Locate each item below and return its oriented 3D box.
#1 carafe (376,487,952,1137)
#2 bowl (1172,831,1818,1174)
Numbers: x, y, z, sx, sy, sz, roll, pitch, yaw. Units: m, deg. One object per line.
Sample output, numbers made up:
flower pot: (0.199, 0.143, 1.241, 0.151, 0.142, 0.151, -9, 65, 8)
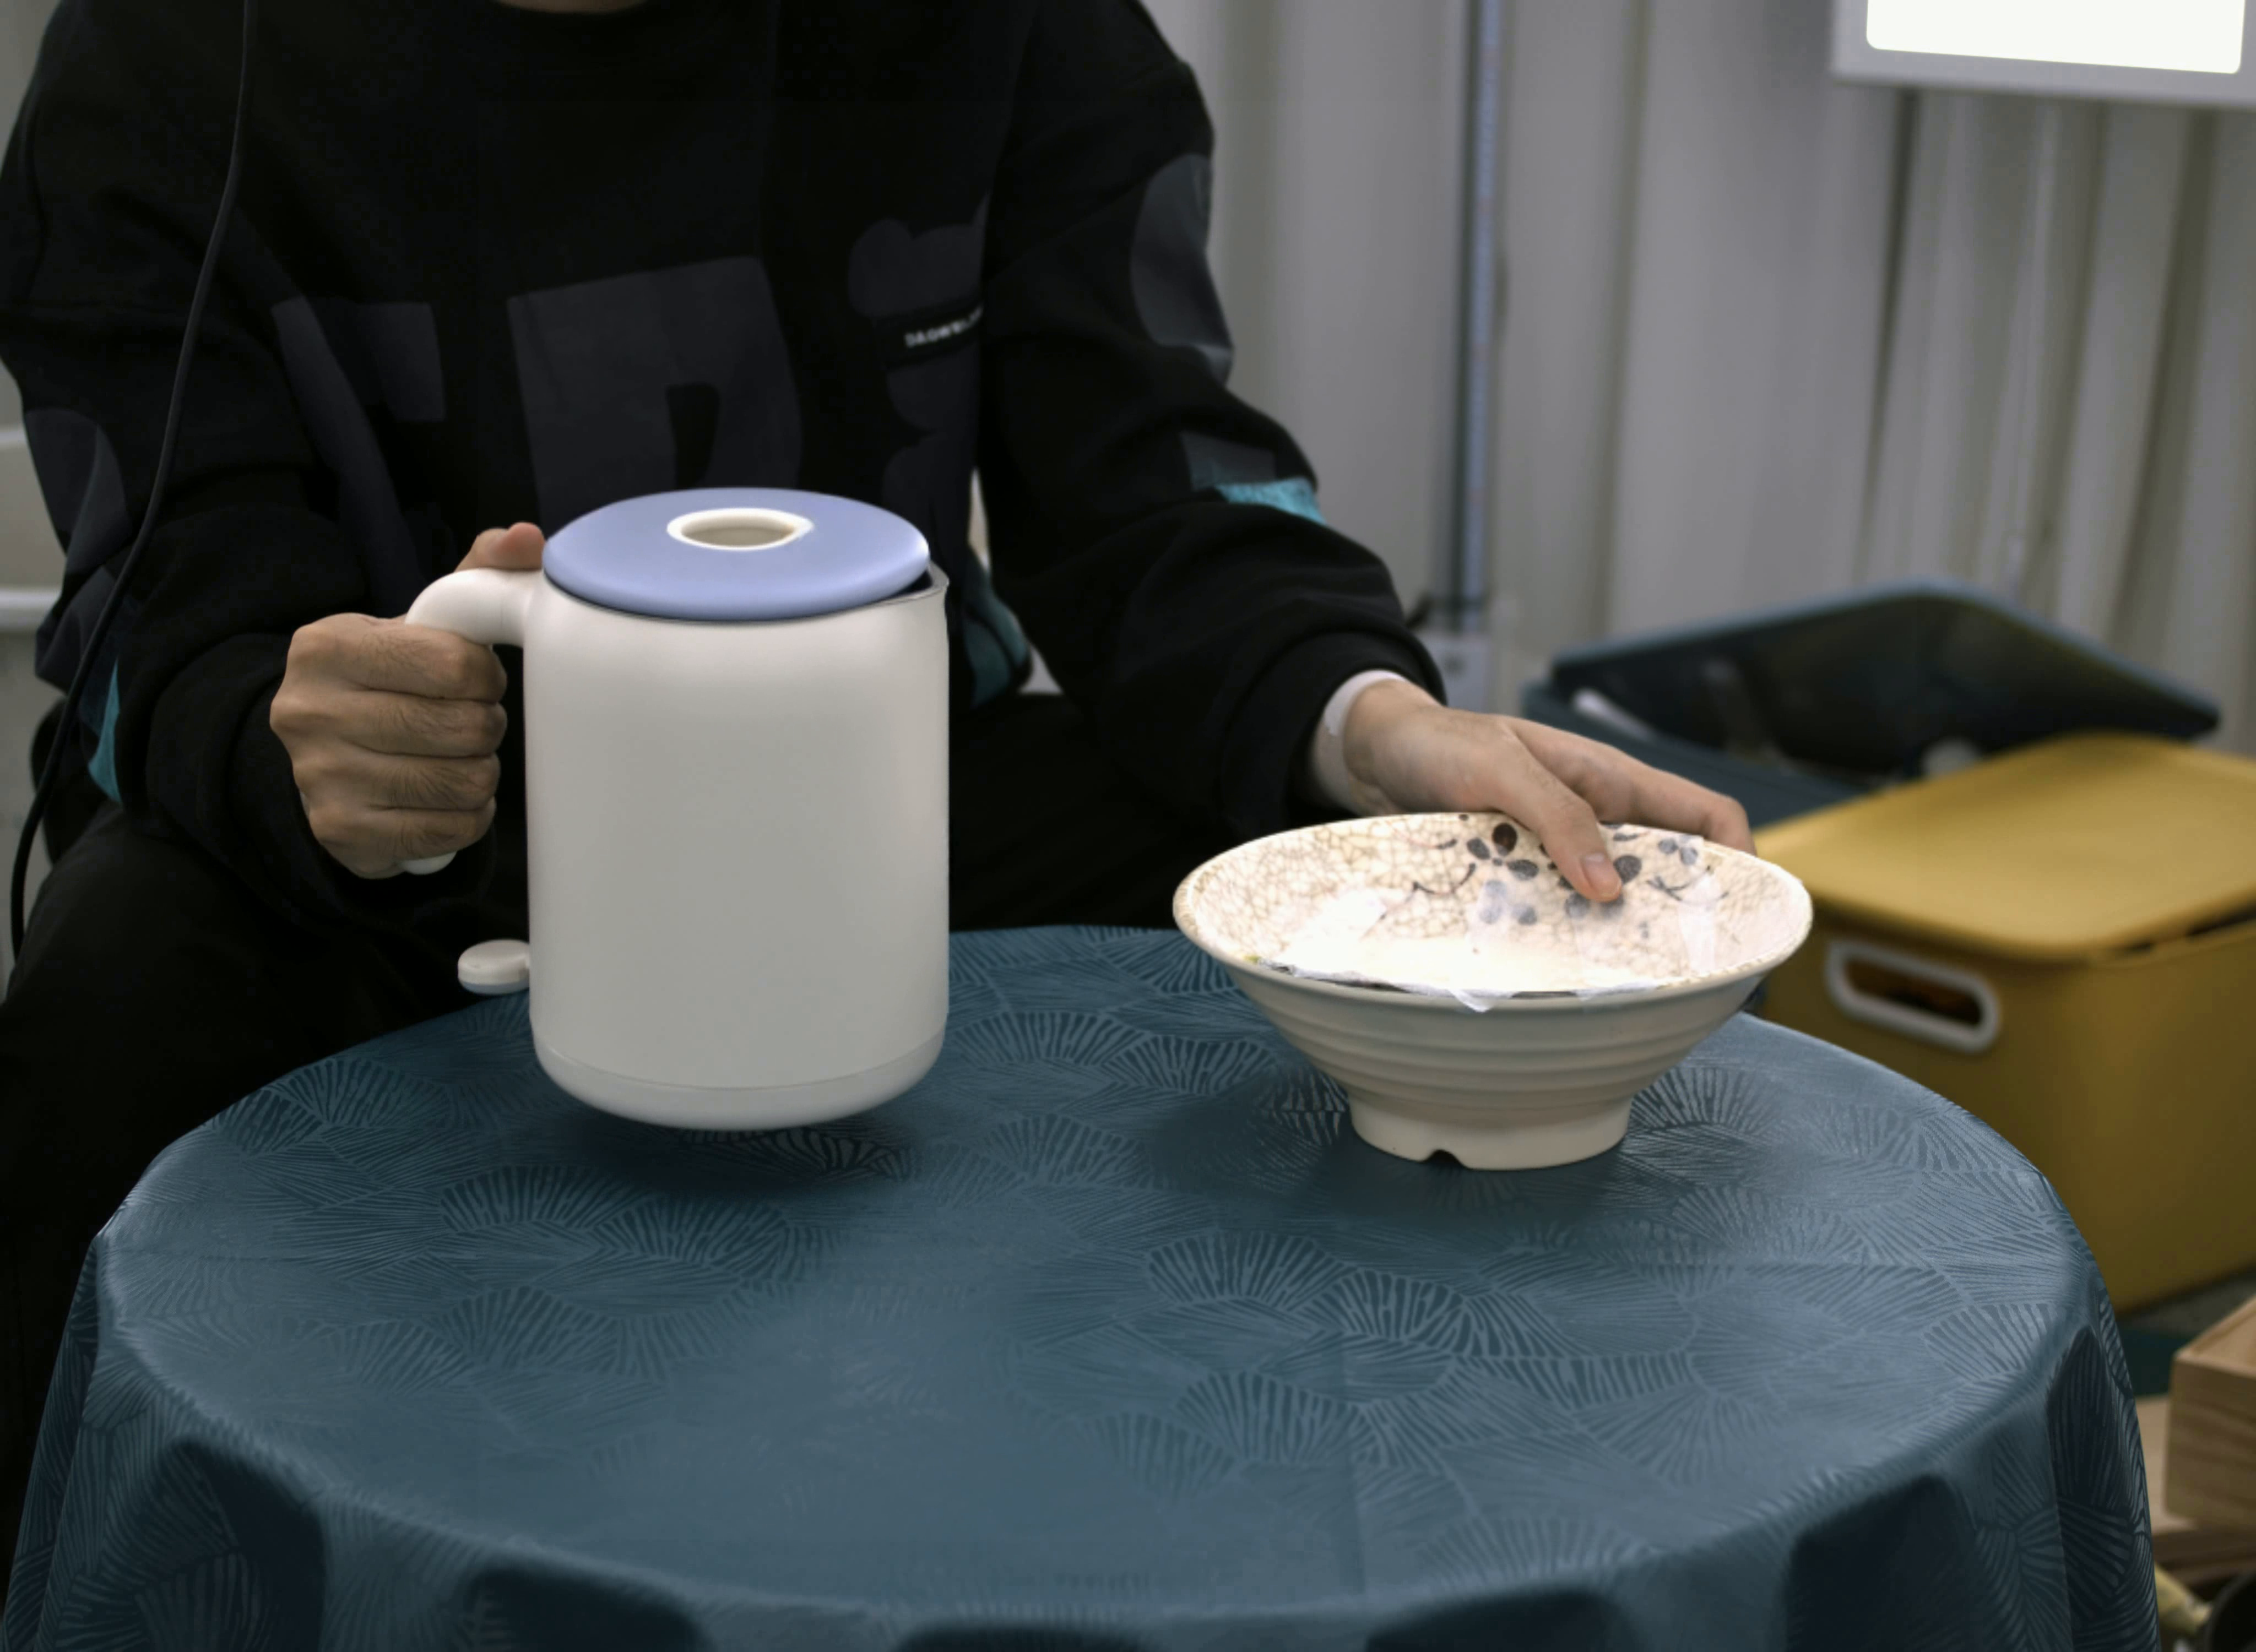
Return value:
carafe: (-0.144, -0.007, 1.628, 0.189, 0.184, 0.132, 4, 19, 15)
bowl: (0.115, 0.061, 1.666, 0.203, 0.078, 0.203, 1, 13, 0)
